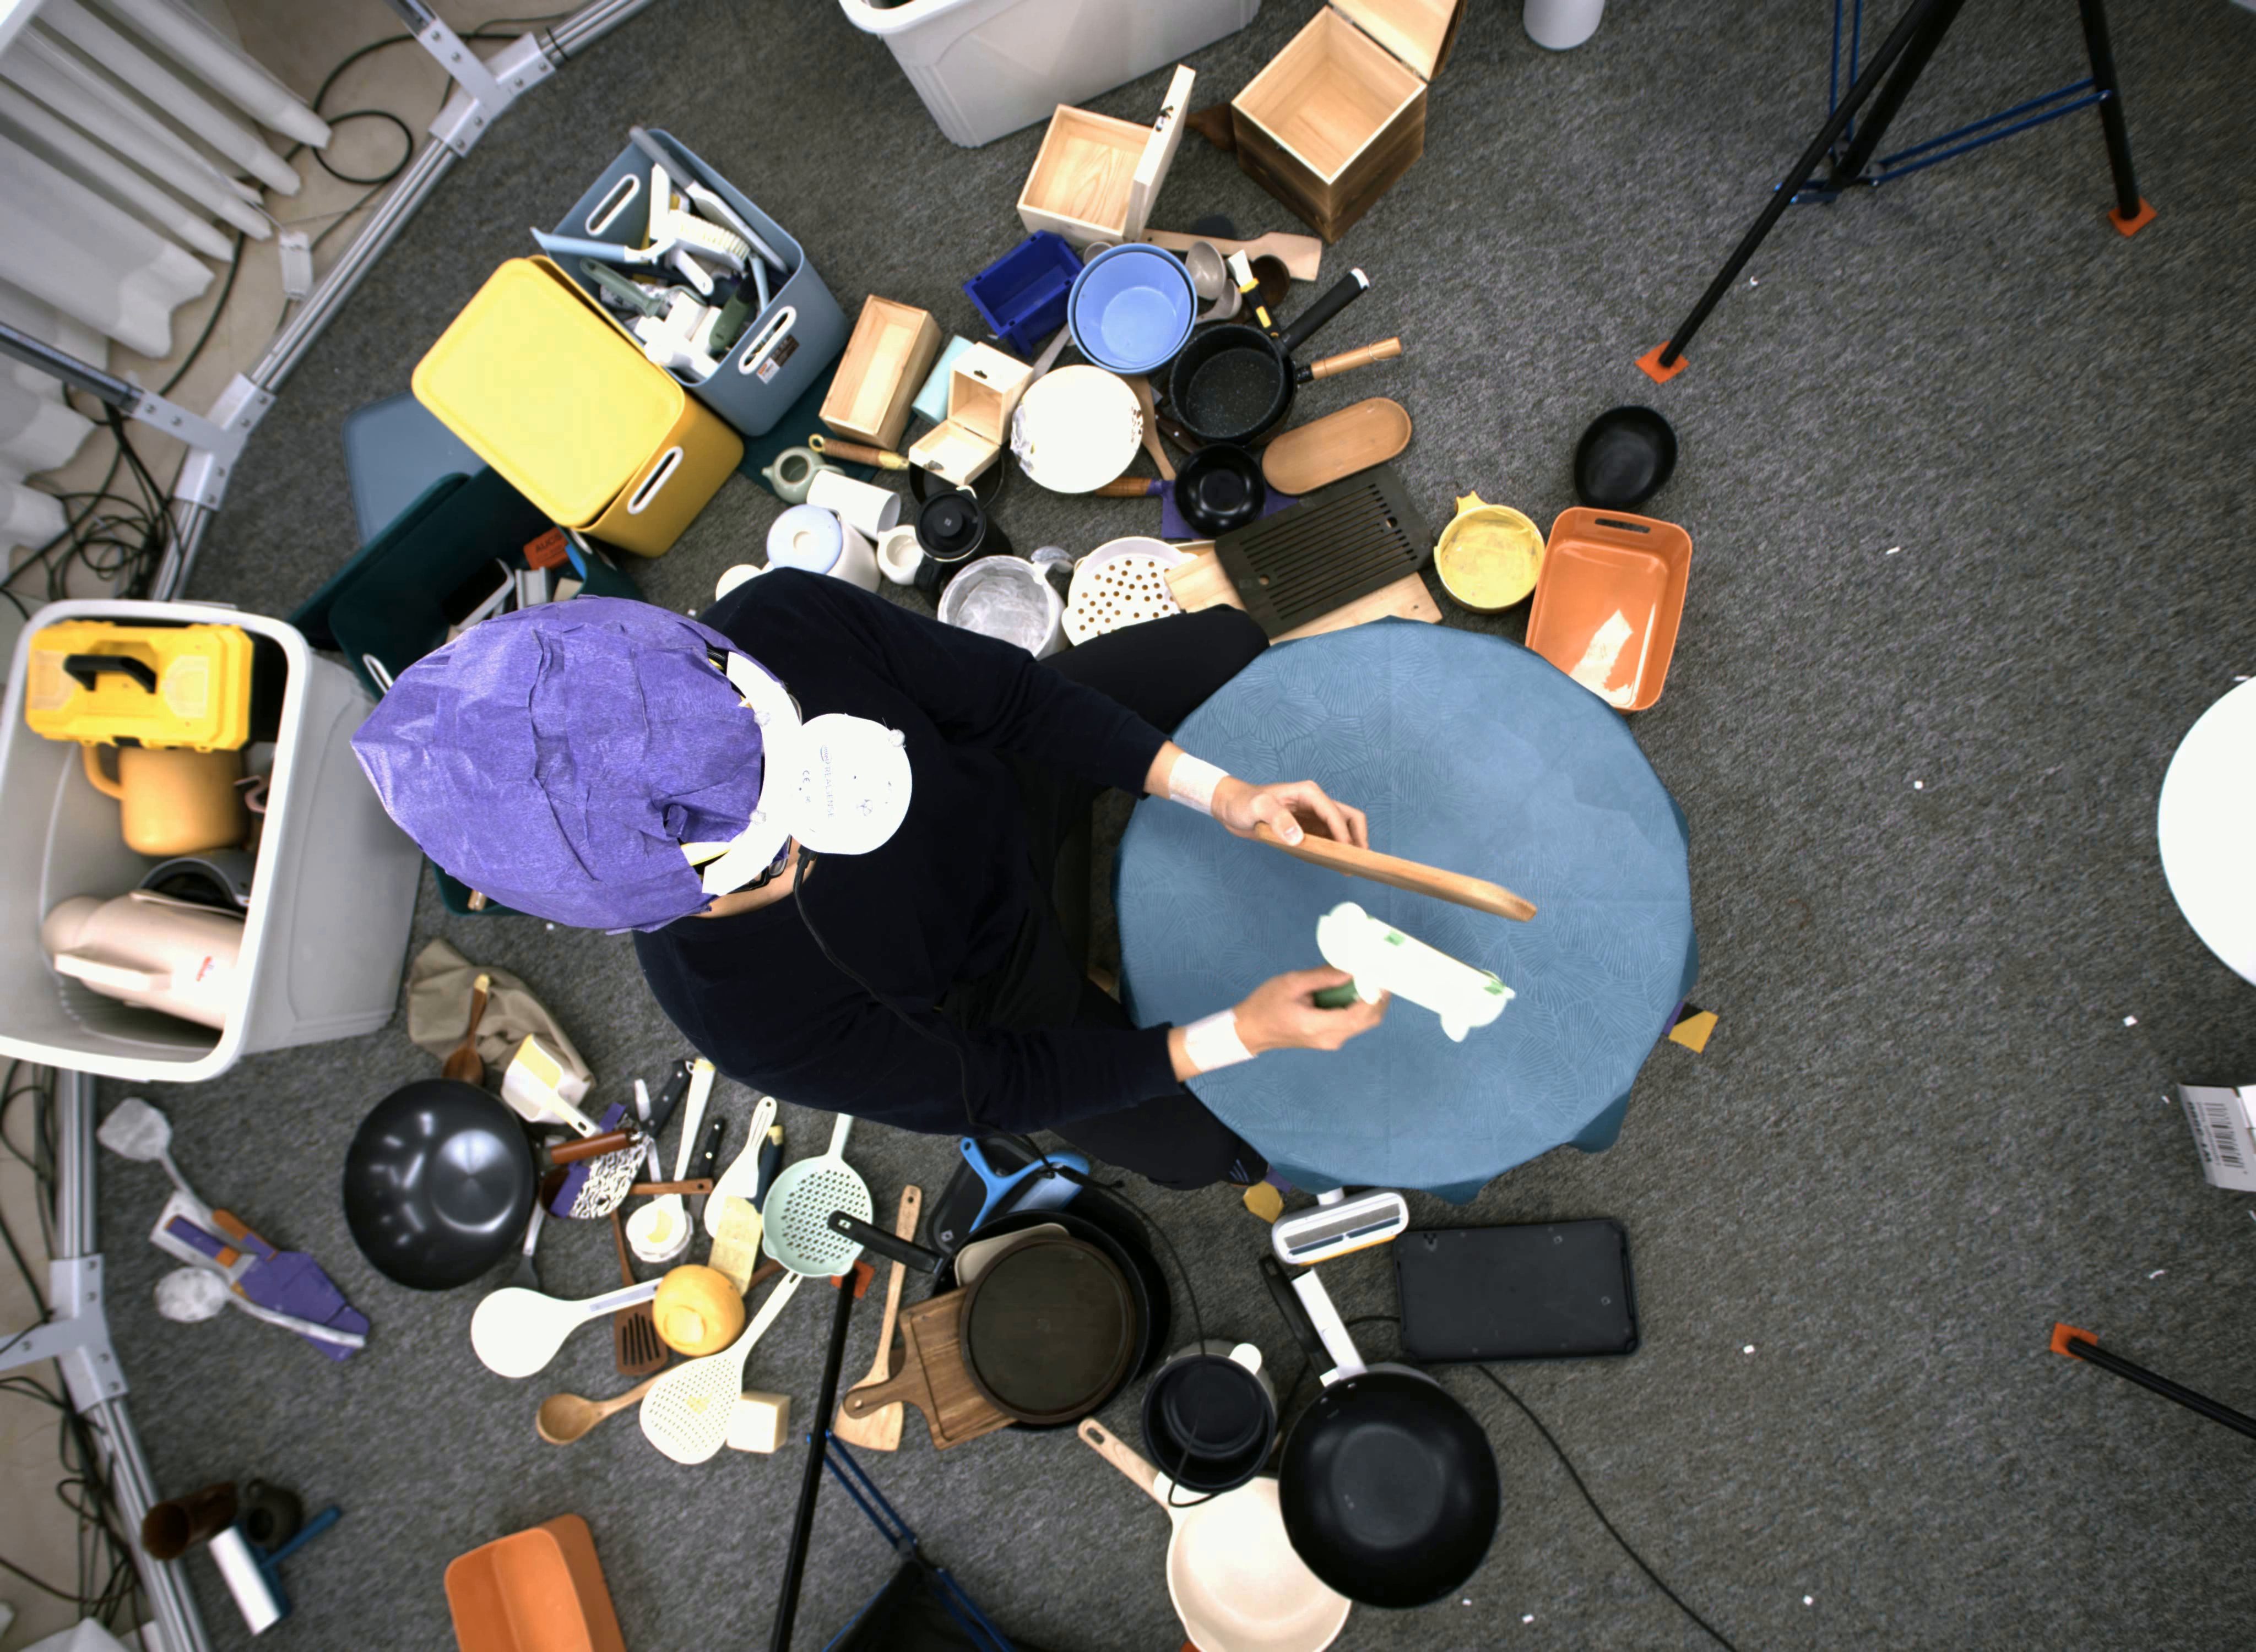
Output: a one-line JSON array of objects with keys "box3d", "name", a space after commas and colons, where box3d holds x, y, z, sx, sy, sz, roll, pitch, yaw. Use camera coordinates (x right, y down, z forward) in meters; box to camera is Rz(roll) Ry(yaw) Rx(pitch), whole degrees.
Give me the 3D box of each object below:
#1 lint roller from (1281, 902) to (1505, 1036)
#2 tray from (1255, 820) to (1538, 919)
[{"box3d": [0.208, 0.153, 1.233, 0.187, 0.199, 0.080, -39, 41, 35], "name": "lint roller"}, {"box3d": [0.237, 0.038, 1.242, 0.251, 0.131, 0.023, 14, 82, 36], "name": "tray"}]
